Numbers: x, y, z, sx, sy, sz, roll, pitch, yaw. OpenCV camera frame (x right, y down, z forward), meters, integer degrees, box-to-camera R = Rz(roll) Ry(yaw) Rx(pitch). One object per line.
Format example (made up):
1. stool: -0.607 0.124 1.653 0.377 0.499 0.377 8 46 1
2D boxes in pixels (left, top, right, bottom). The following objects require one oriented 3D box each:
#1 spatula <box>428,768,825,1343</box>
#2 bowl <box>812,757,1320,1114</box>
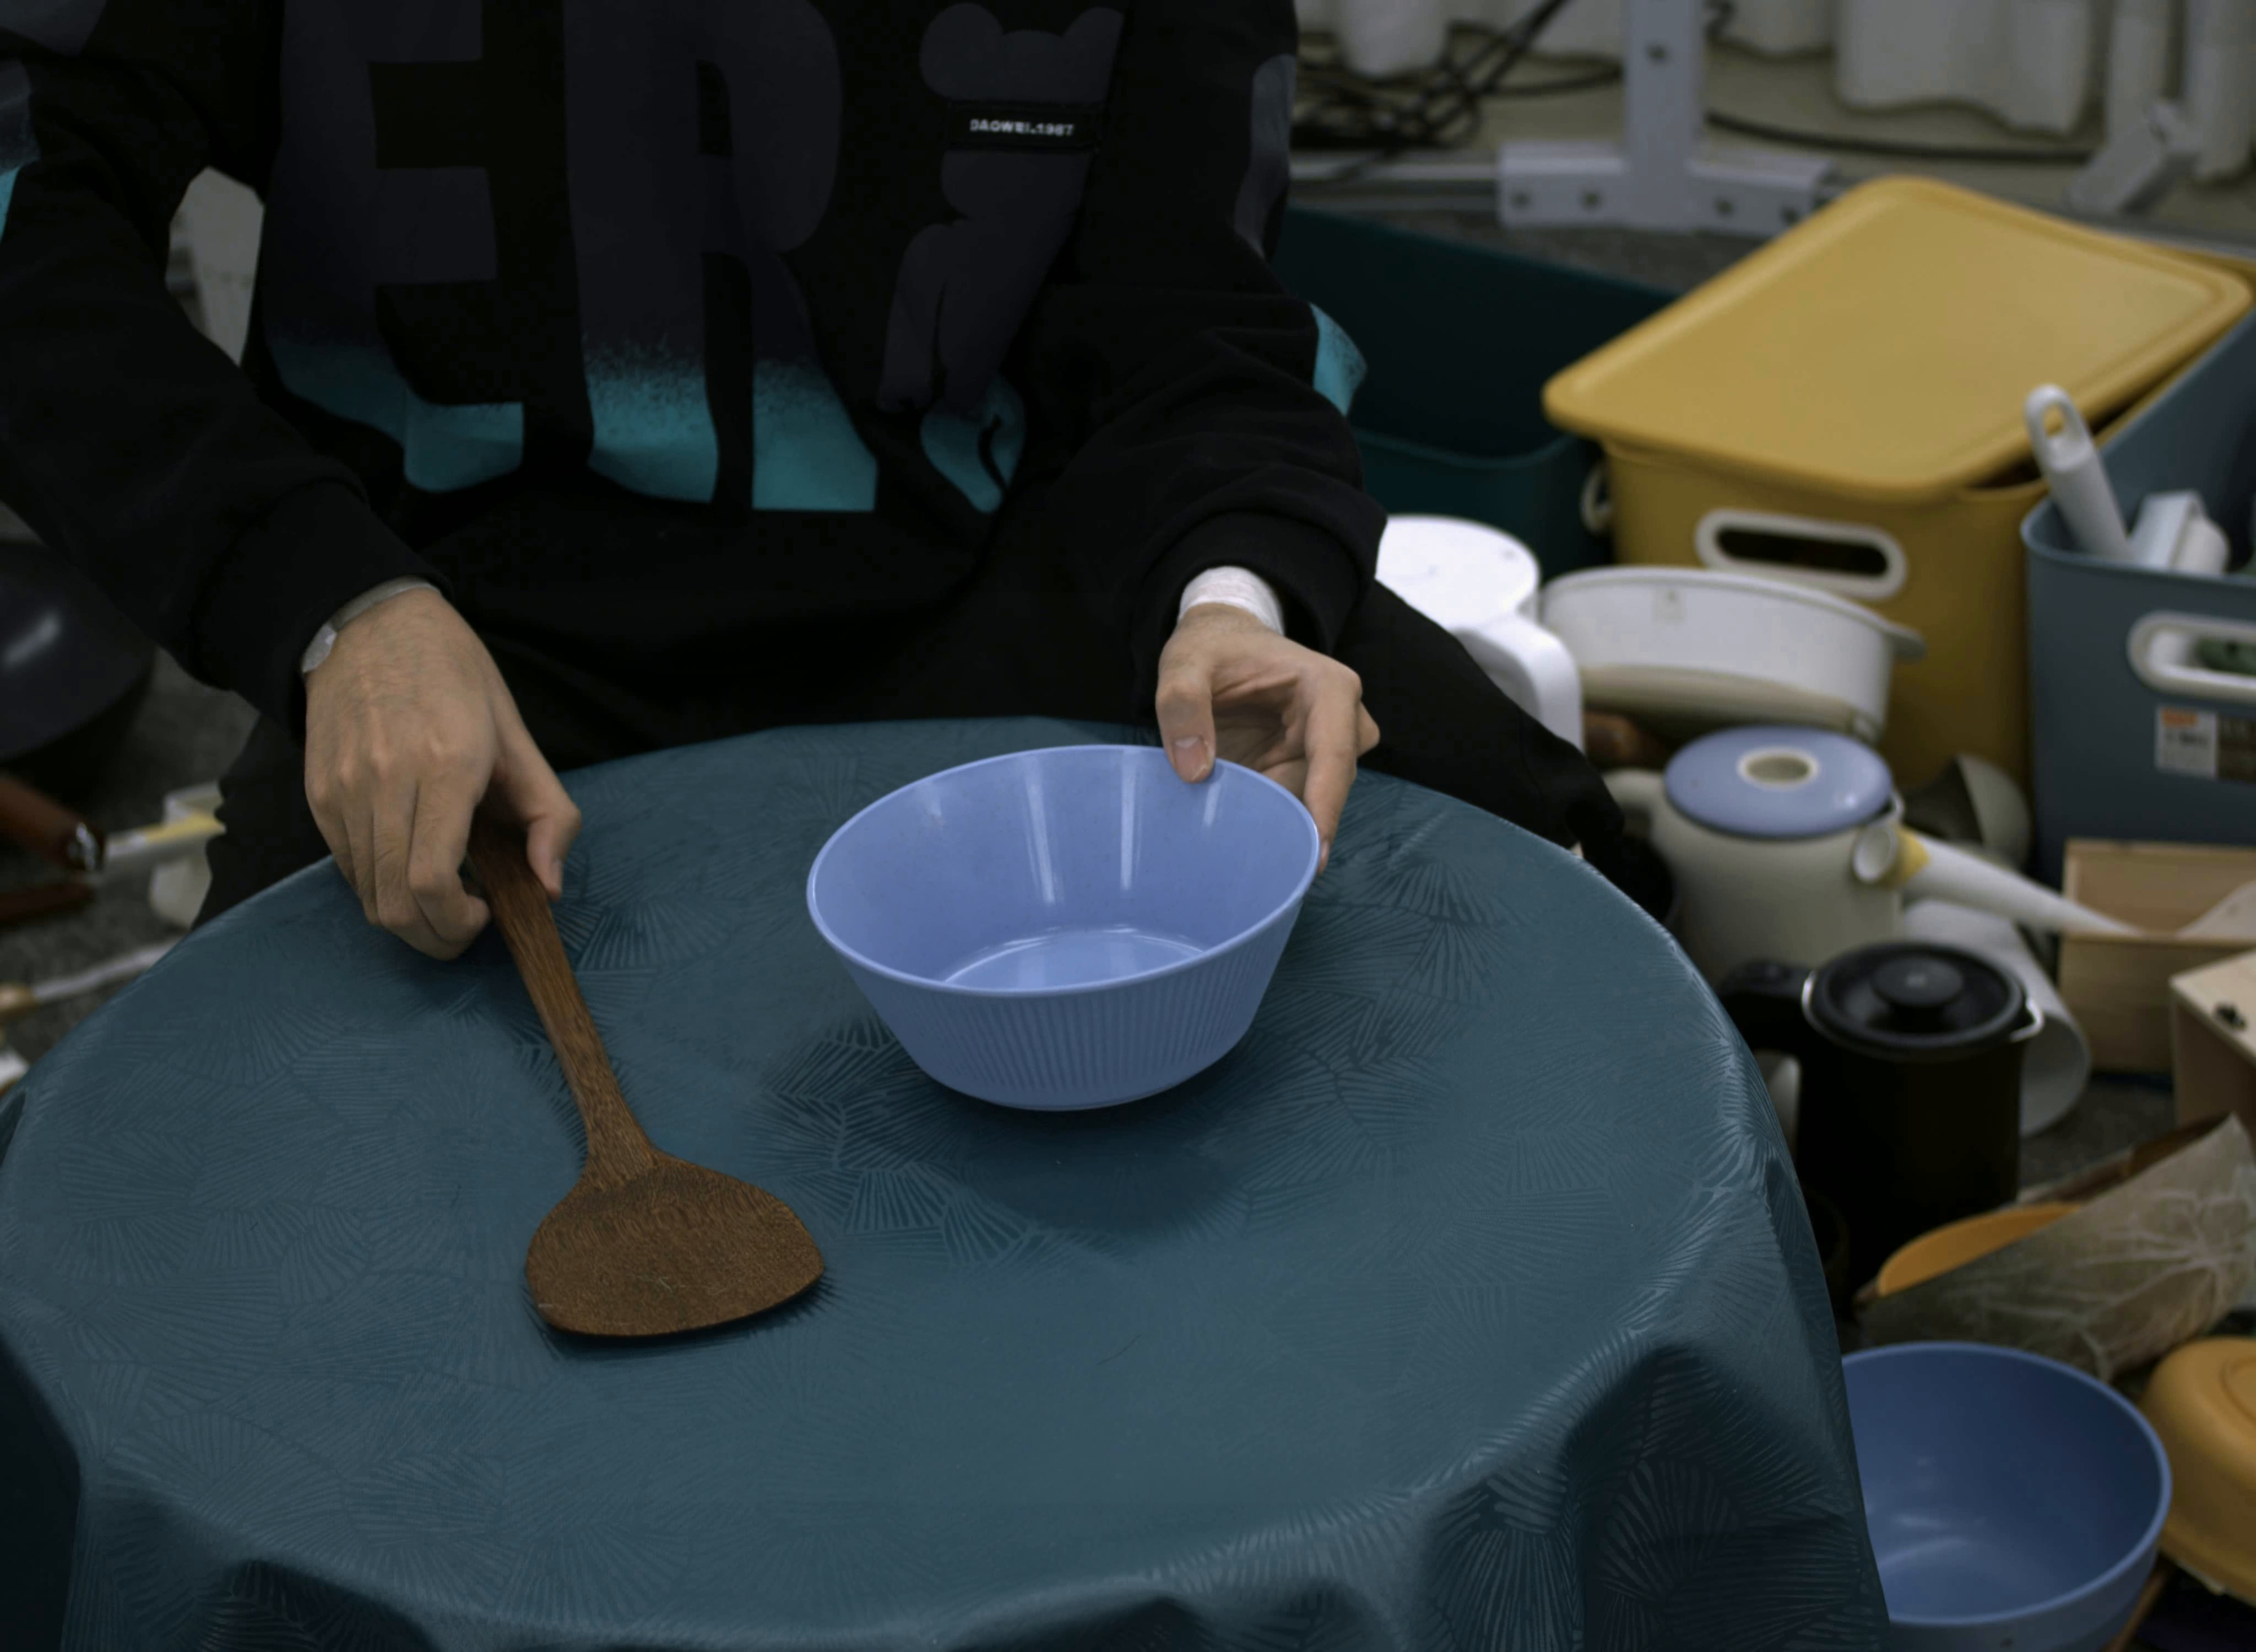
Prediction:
1. spatula: -0.194 0.070 1.950 0.096 0.015 0.390 -10 32 -14
2. bowl: -0.018 0.043 1.924 0.175 0.069 0.178 -4 25 2
